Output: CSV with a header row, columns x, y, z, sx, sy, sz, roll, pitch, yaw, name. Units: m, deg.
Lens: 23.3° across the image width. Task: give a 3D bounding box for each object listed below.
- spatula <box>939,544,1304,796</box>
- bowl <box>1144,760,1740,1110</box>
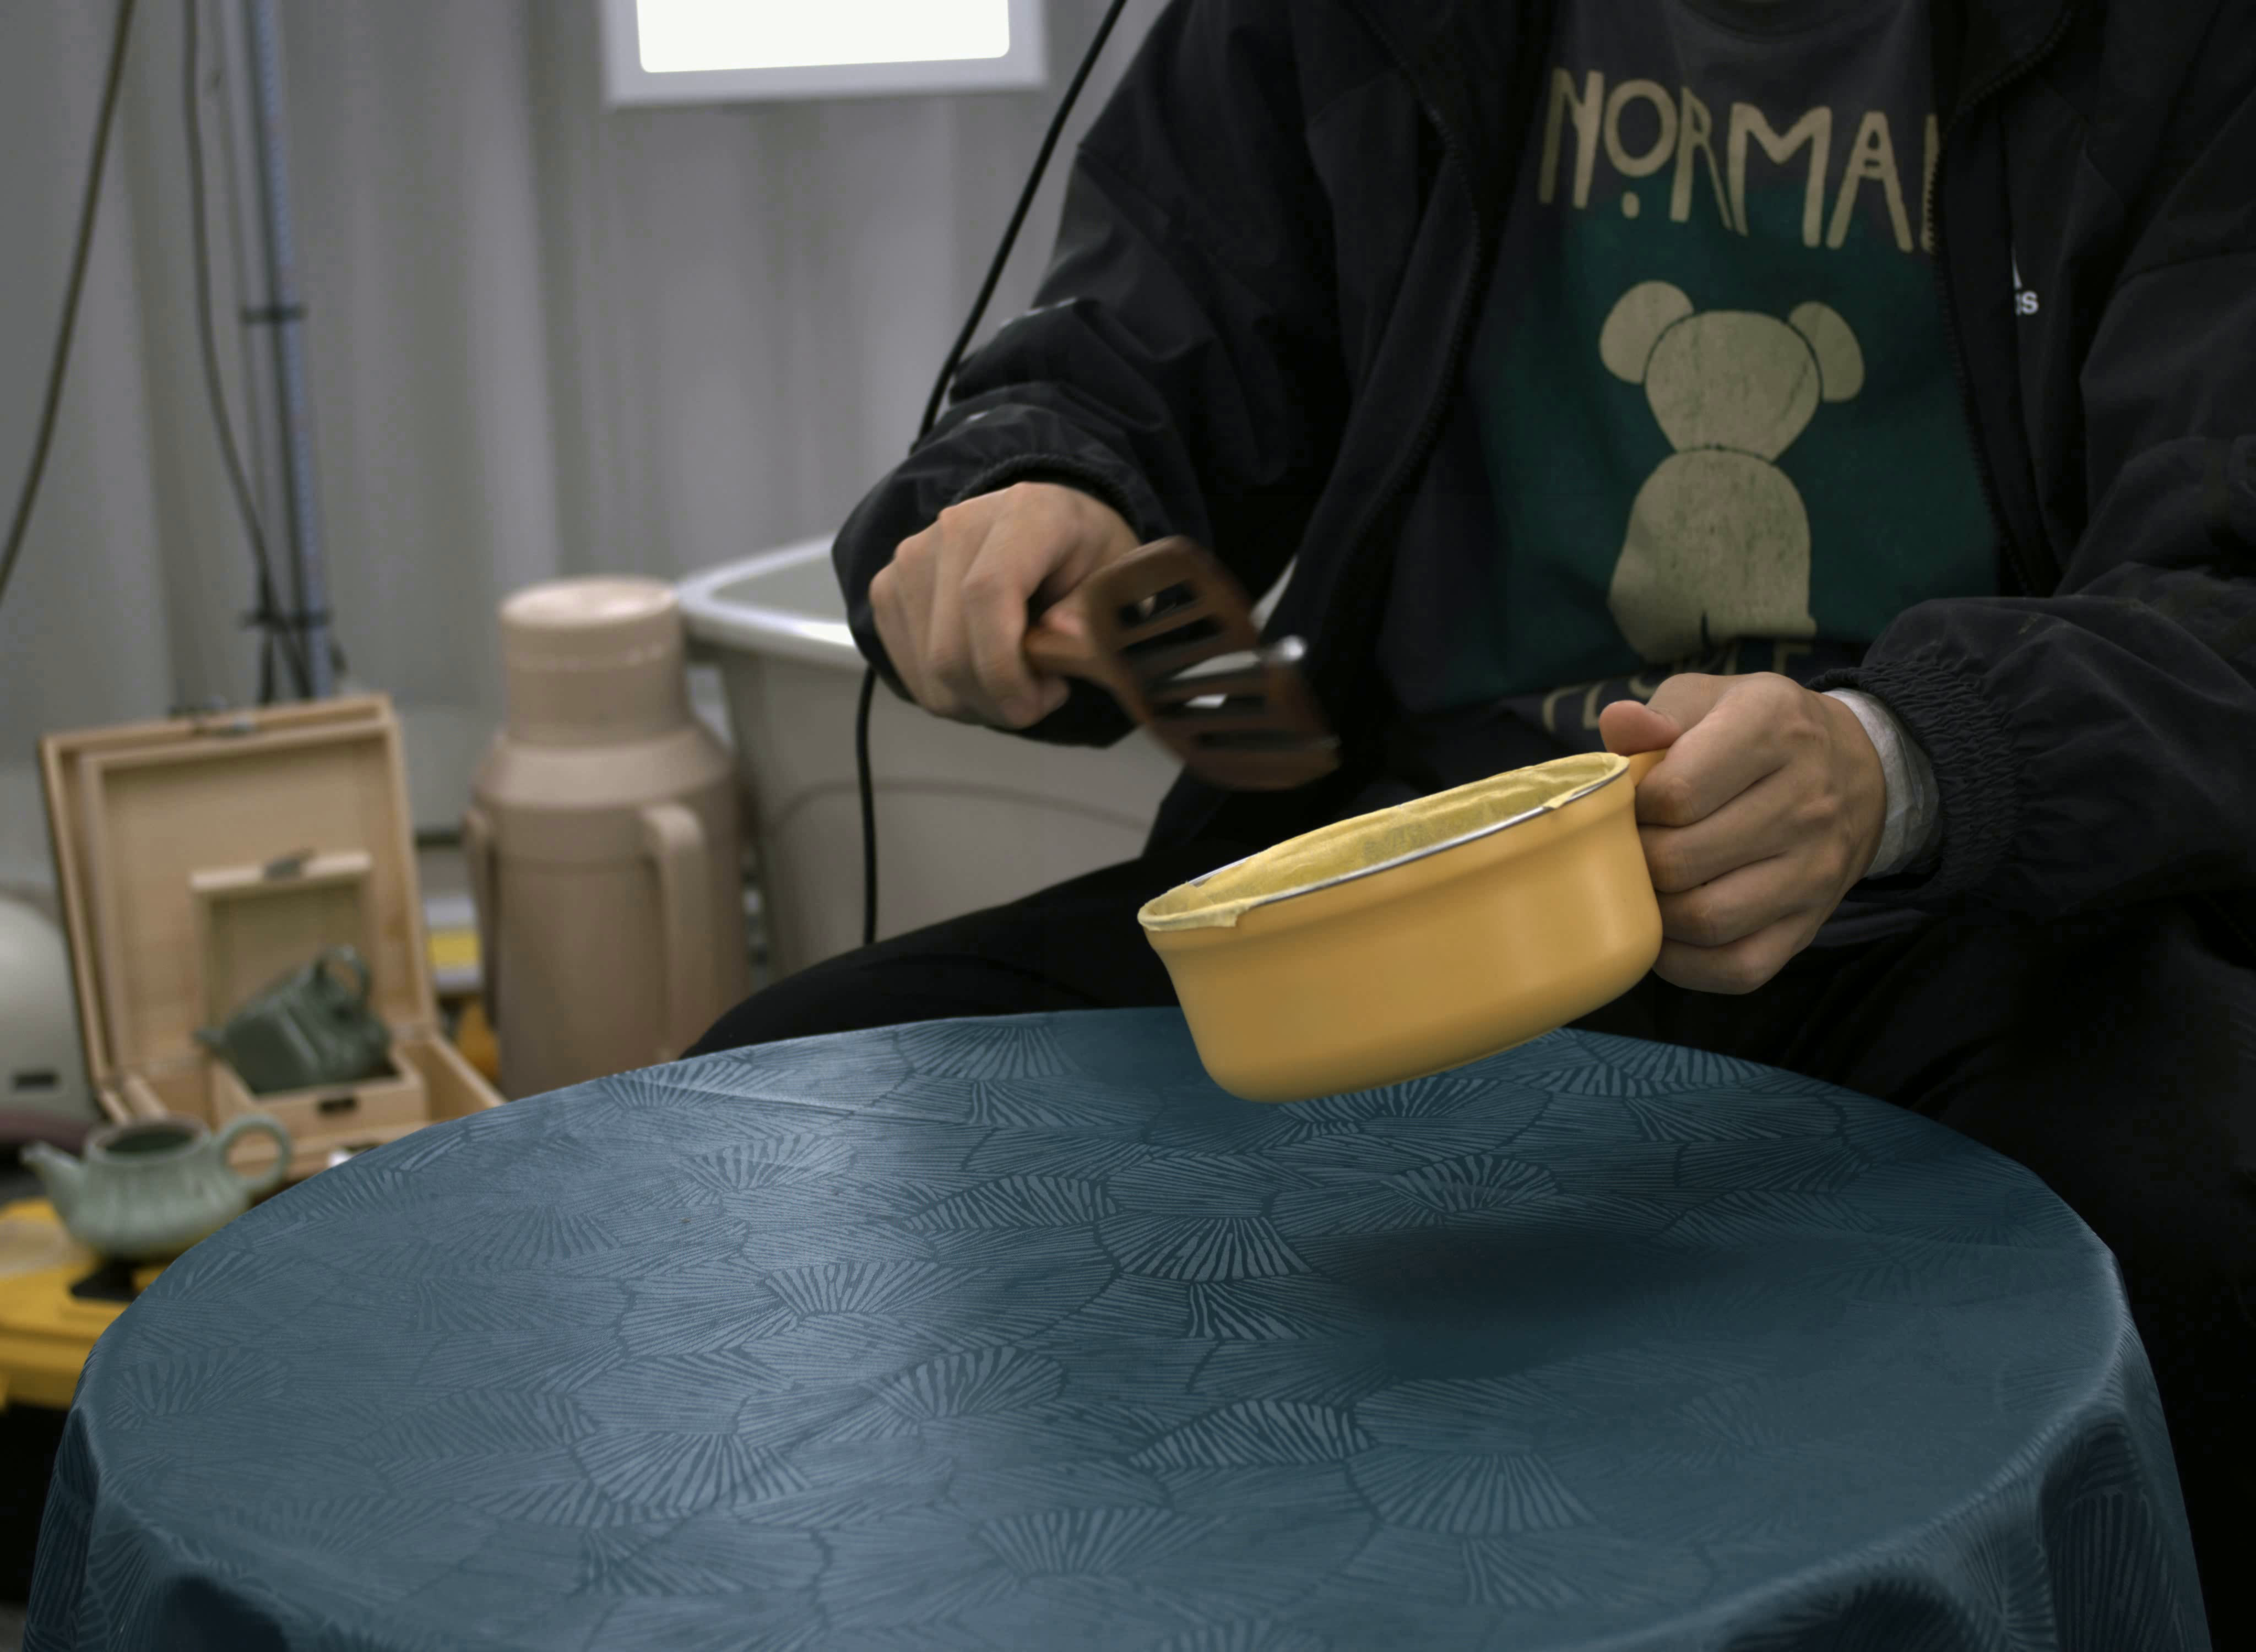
x,y,z,sx,sy,sz,roll,pitch,yaw,name
-0.018,-0.047,1.742,0.024,0.085,0.387,-35,8,-9,spatula
0.099,0.031,1.617,0.179,0.074,0.153,-21,7,-30,bowl
